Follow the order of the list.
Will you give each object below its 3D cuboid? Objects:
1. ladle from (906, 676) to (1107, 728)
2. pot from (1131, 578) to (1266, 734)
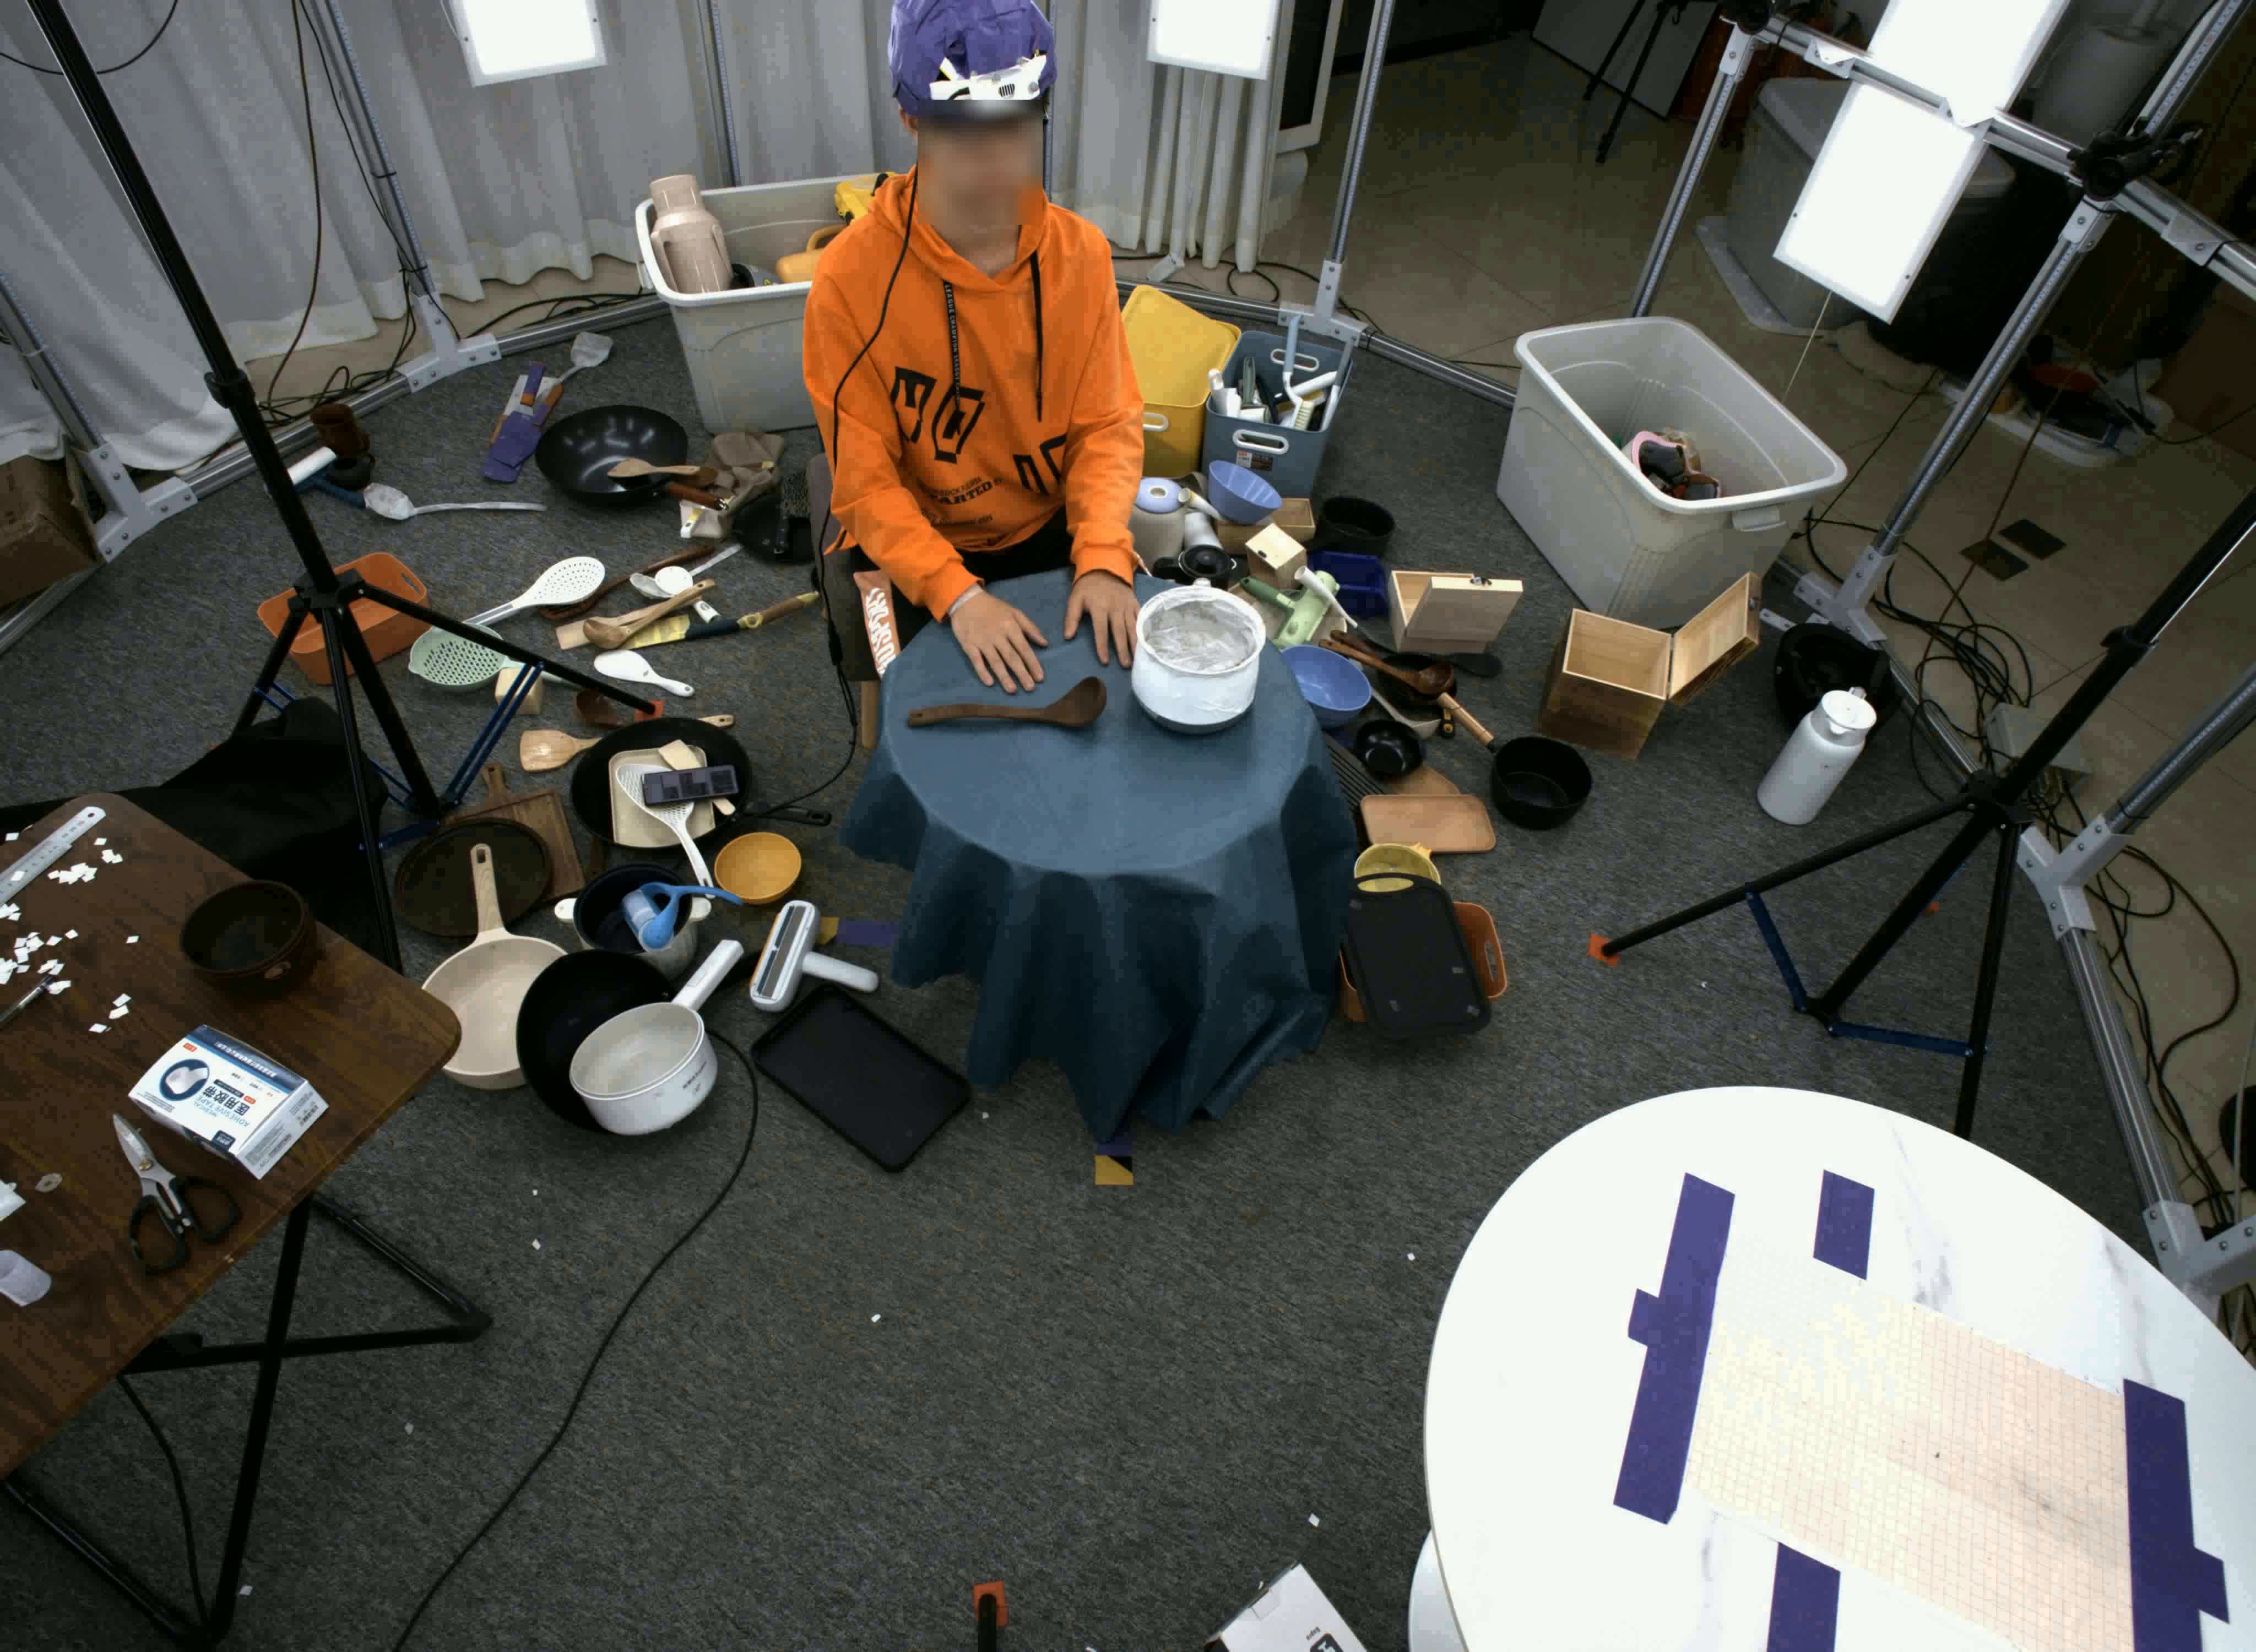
[{"bbox_3d":[-0.167,-0.169,1.759,0.274,0.069,0.078,-1,46,-5],"label":"ladle"},{"bbox_3d":[0.096,-0.248,1.802,0.178,0.133,0.239,4,49,-1],"label":"pot"}]
